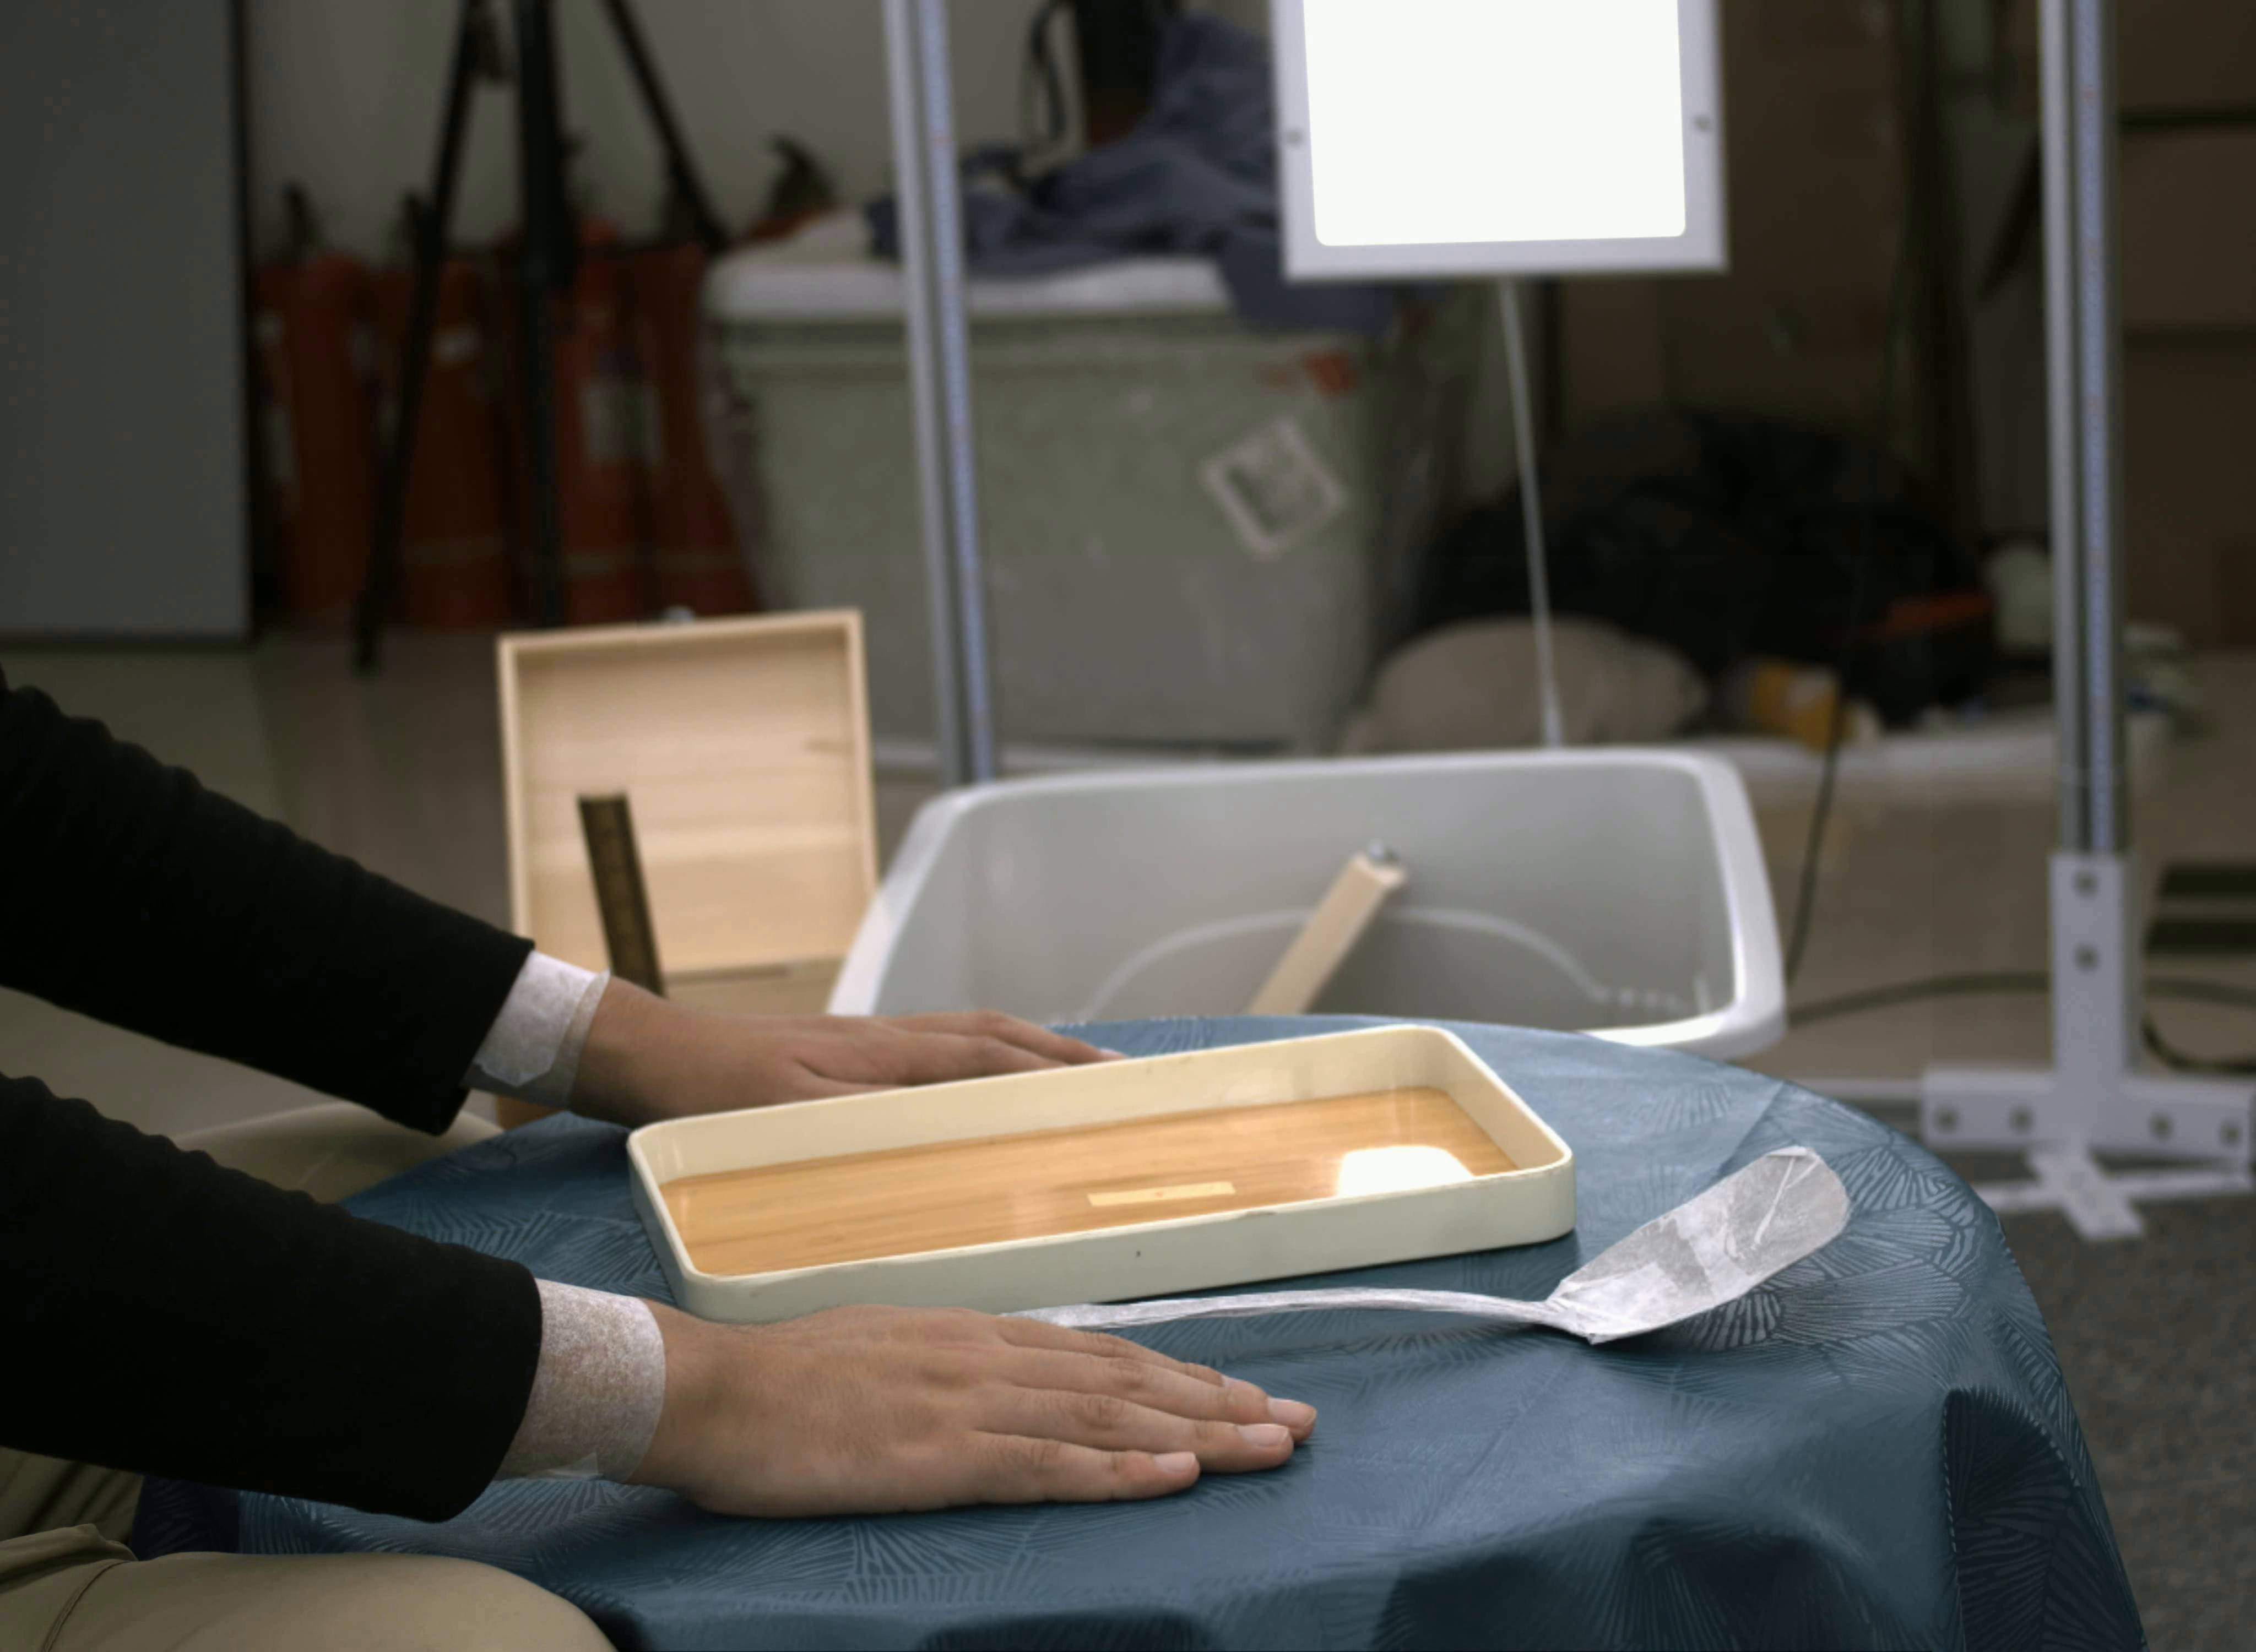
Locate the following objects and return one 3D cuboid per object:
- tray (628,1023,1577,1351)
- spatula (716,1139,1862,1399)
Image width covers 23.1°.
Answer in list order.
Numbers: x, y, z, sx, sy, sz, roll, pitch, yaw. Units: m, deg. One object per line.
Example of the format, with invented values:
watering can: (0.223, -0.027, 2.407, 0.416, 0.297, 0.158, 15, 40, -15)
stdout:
tray: (-0.012, 0.120, 1.872, 0.297, 0.027, 0.192, -7, 14, -8)
spatula: (0.050, 0.145, 1.724, 0.364, 0.045, 0.098, -5, 14, 0)
